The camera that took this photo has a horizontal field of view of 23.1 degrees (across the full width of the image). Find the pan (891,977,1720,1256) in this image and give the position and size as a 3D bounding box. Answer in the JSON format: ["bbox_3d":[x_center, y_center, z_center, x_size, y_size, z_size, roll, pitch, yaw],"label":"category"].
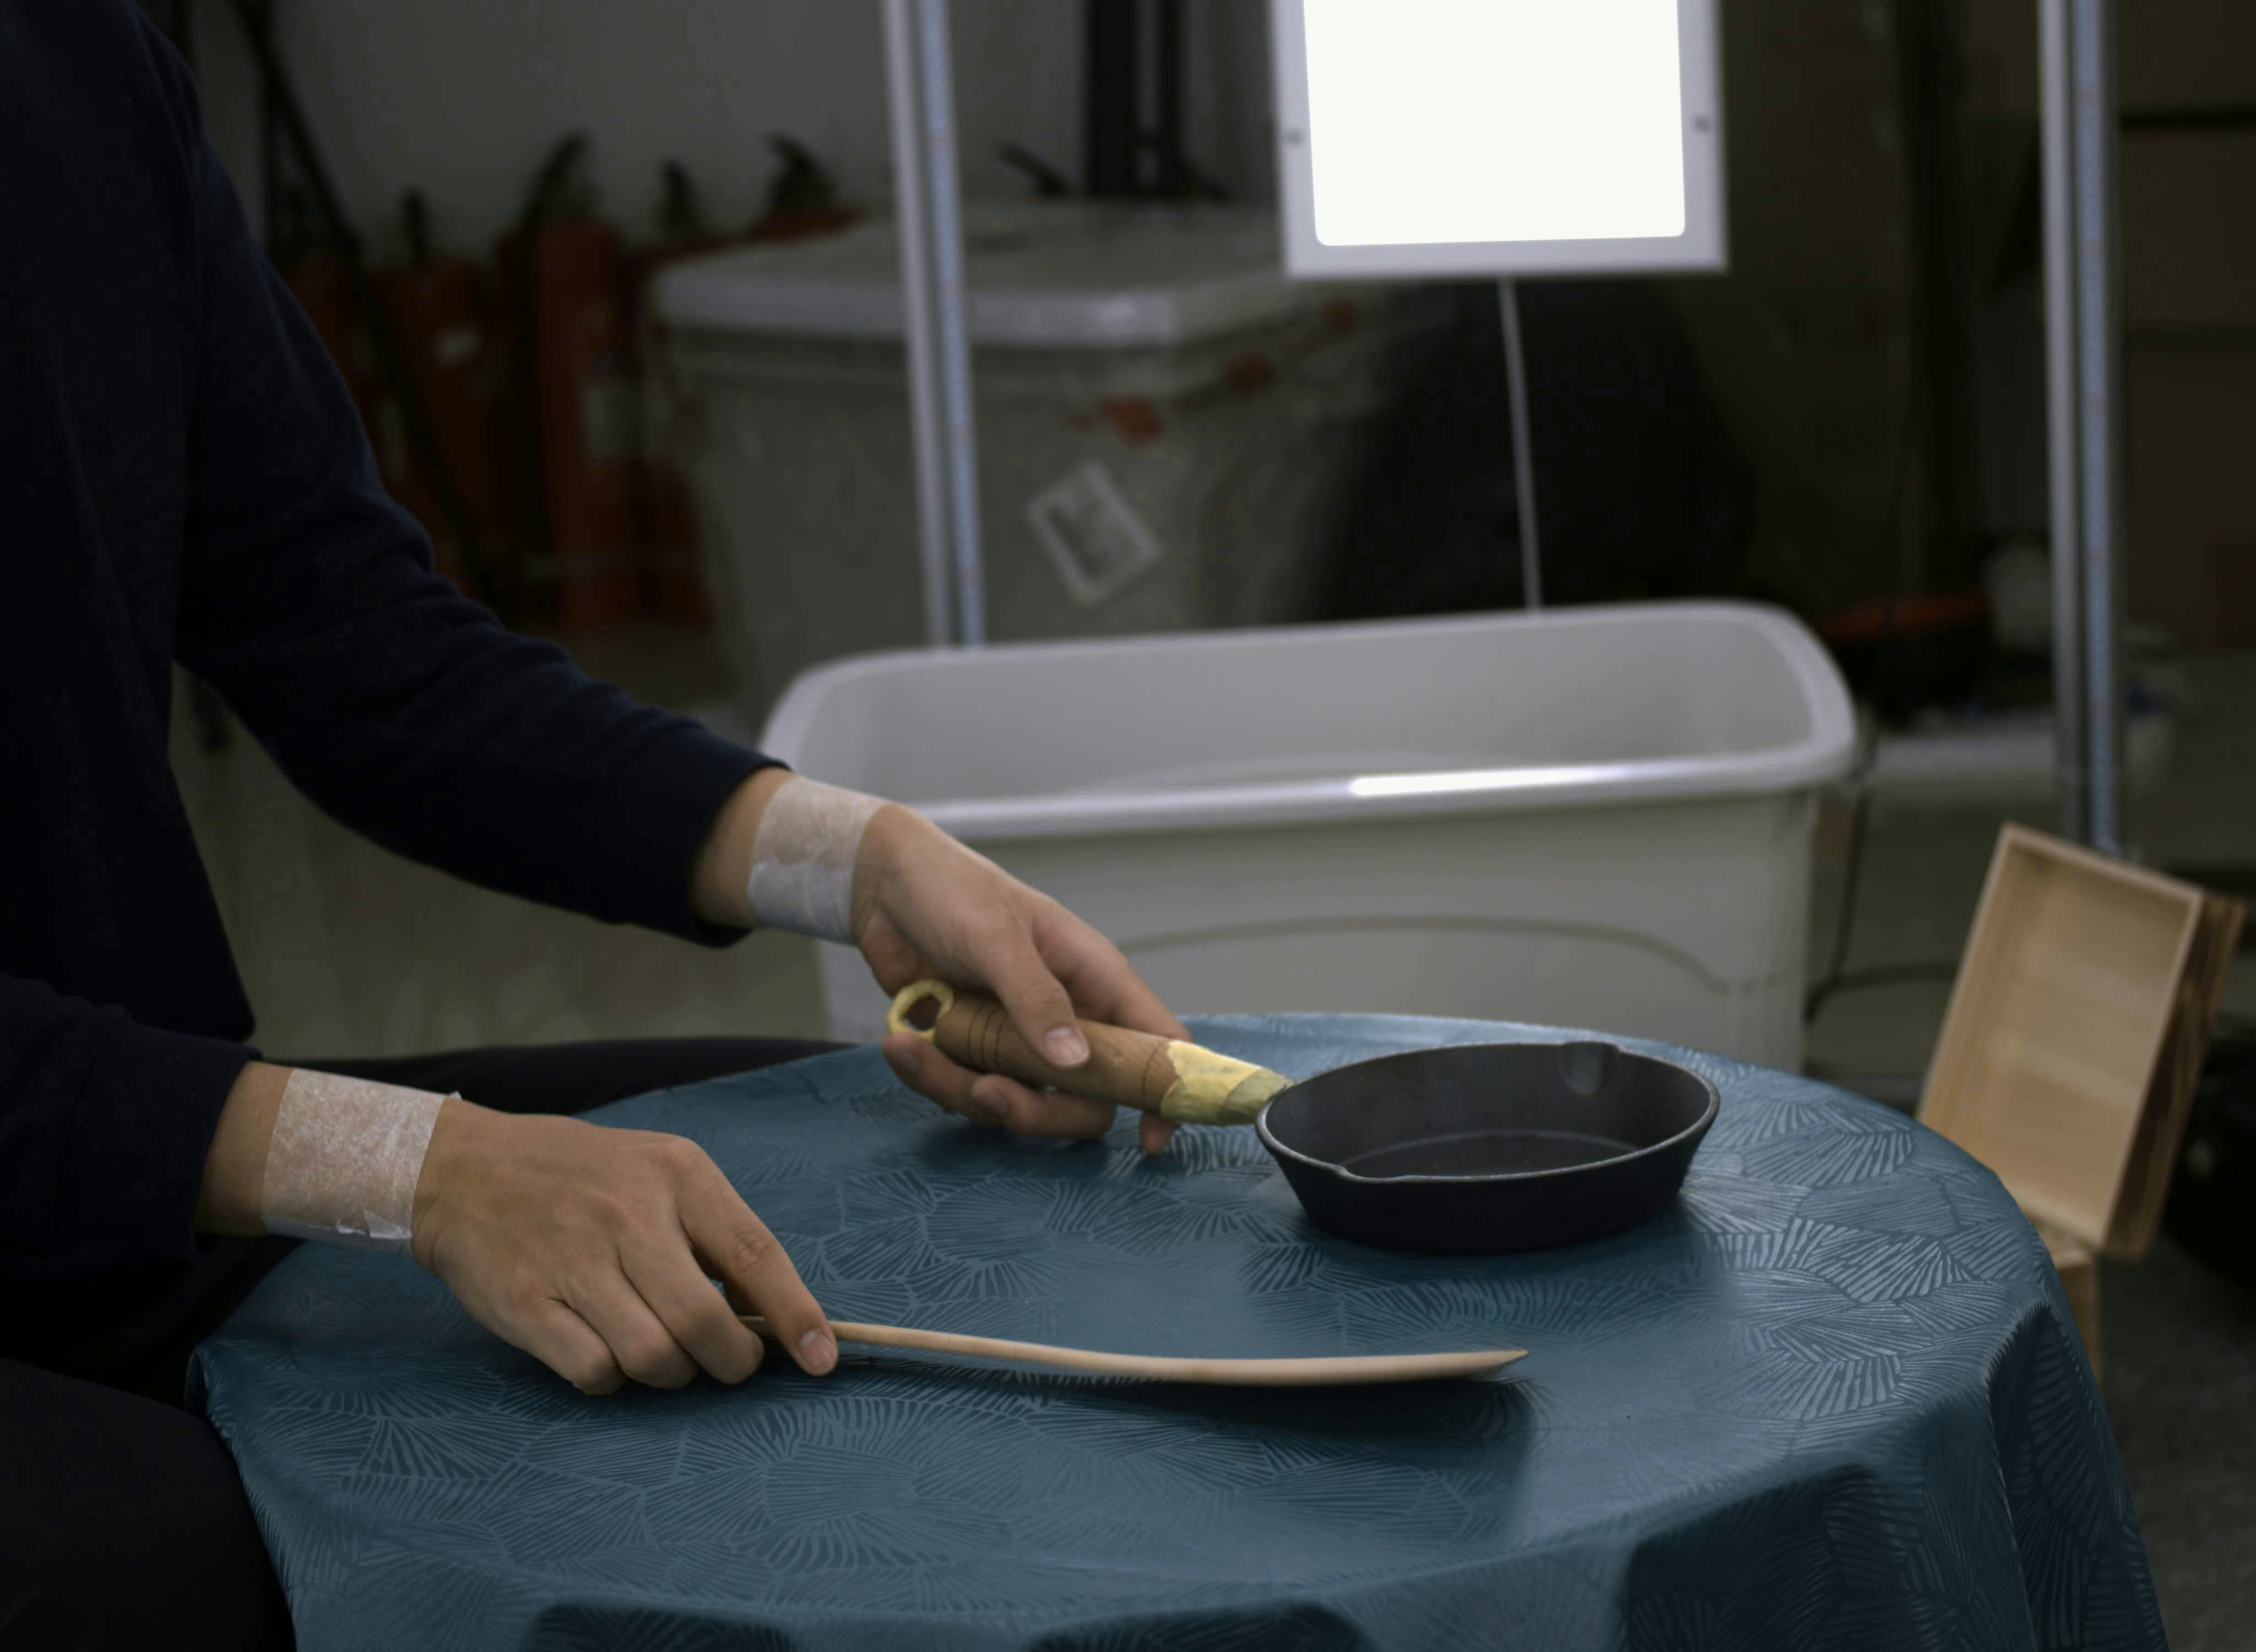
[{"bbox_3d":[0.052,0.094,1.902,0.331,0.050,0.165,7,18,36],"label":"pan"}]

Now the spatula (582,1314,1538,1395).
[{"bbox_3d":[-0.026,0.162,1.716,0.333,0.016,0.078,2,1,26],"label":"spatula"}]
